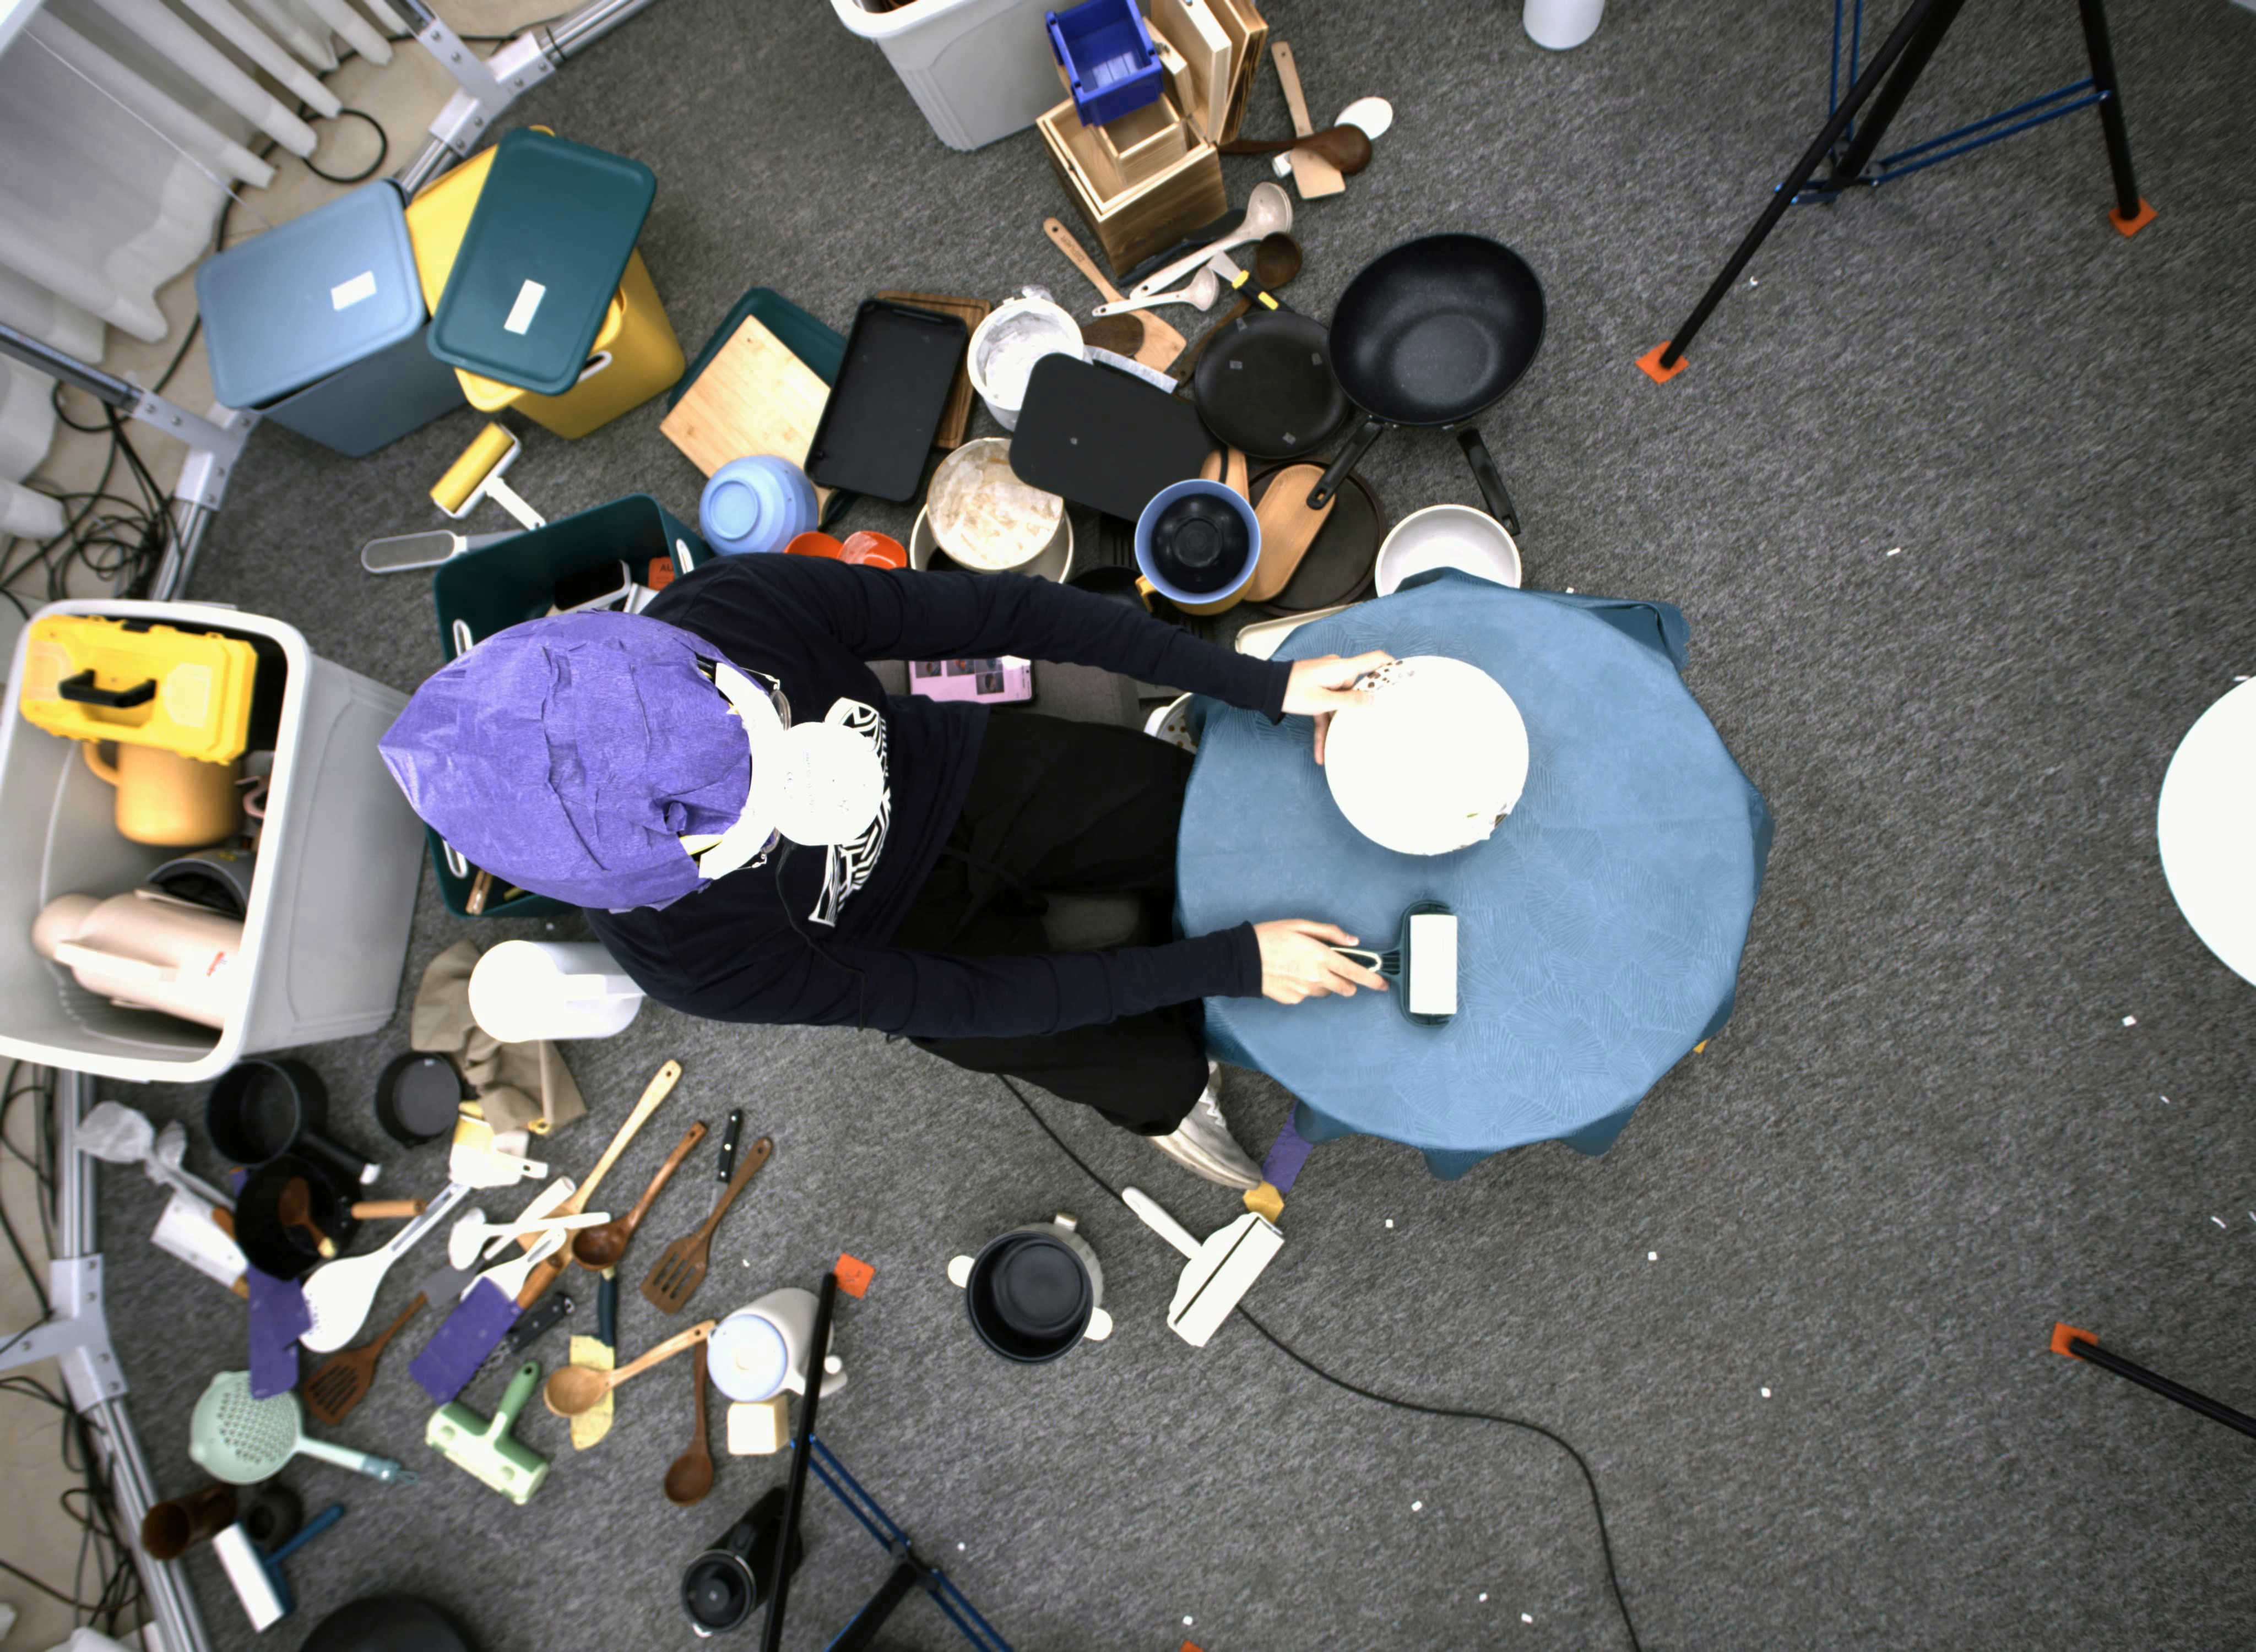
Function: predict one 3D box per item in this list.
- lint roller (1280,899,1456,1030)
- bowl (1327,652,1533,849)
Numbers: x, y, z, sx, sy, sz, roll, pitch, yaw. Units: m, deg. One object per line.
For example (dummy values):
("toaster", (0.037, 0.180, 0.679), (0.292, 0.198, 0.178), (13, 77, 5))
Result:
("lint roller", (0.248, 0.141, 1.429), (0.180, 0.048, 0.134), (0, 87, 5))
("bowl", (0.308, -0.073, 1.415), (0.205, 0.078, 0.202), (-1, 83, 10))
